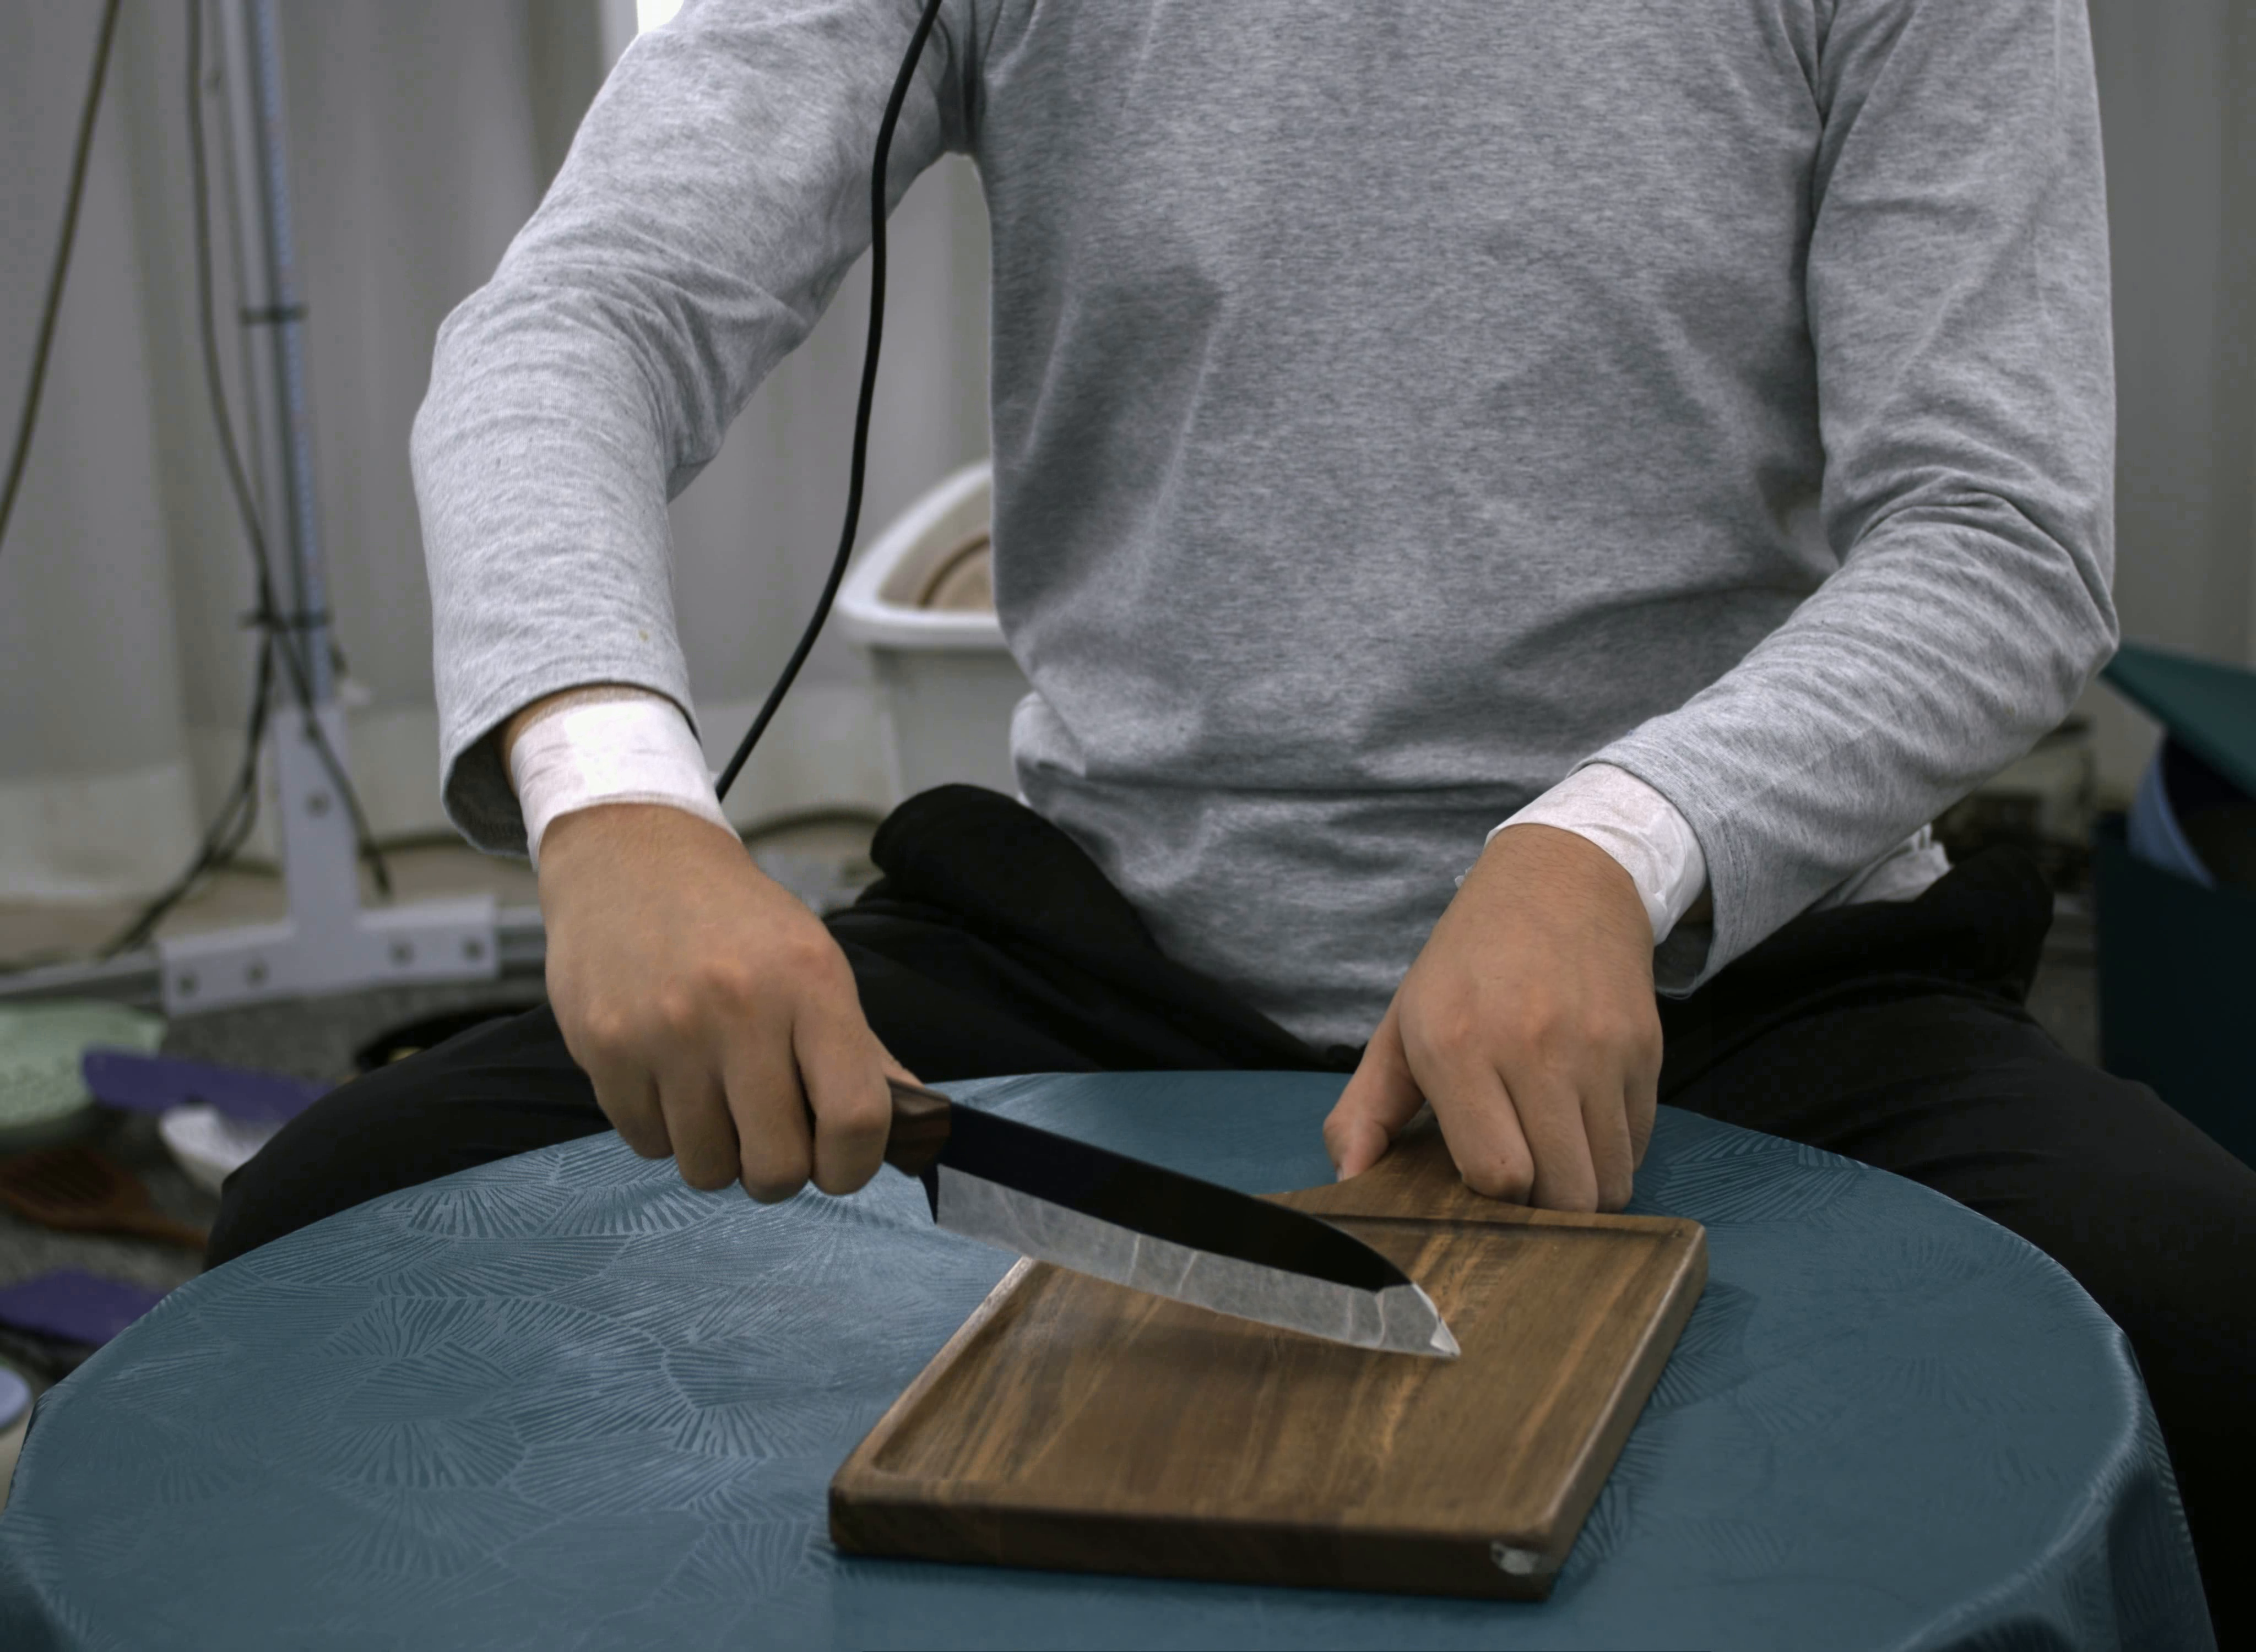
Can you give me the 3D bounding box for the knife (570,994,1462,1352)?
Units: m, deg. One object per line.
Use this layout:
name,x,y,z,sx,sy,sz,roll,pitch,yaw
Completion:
knife,-0.035,0.099,1.565,0.290,0.050,0.020,18,33,22

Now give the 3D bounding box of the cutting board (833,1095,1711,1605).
cutting board,0.060,0.141,1.569,0.201,0.023,0.353,2,16,16
